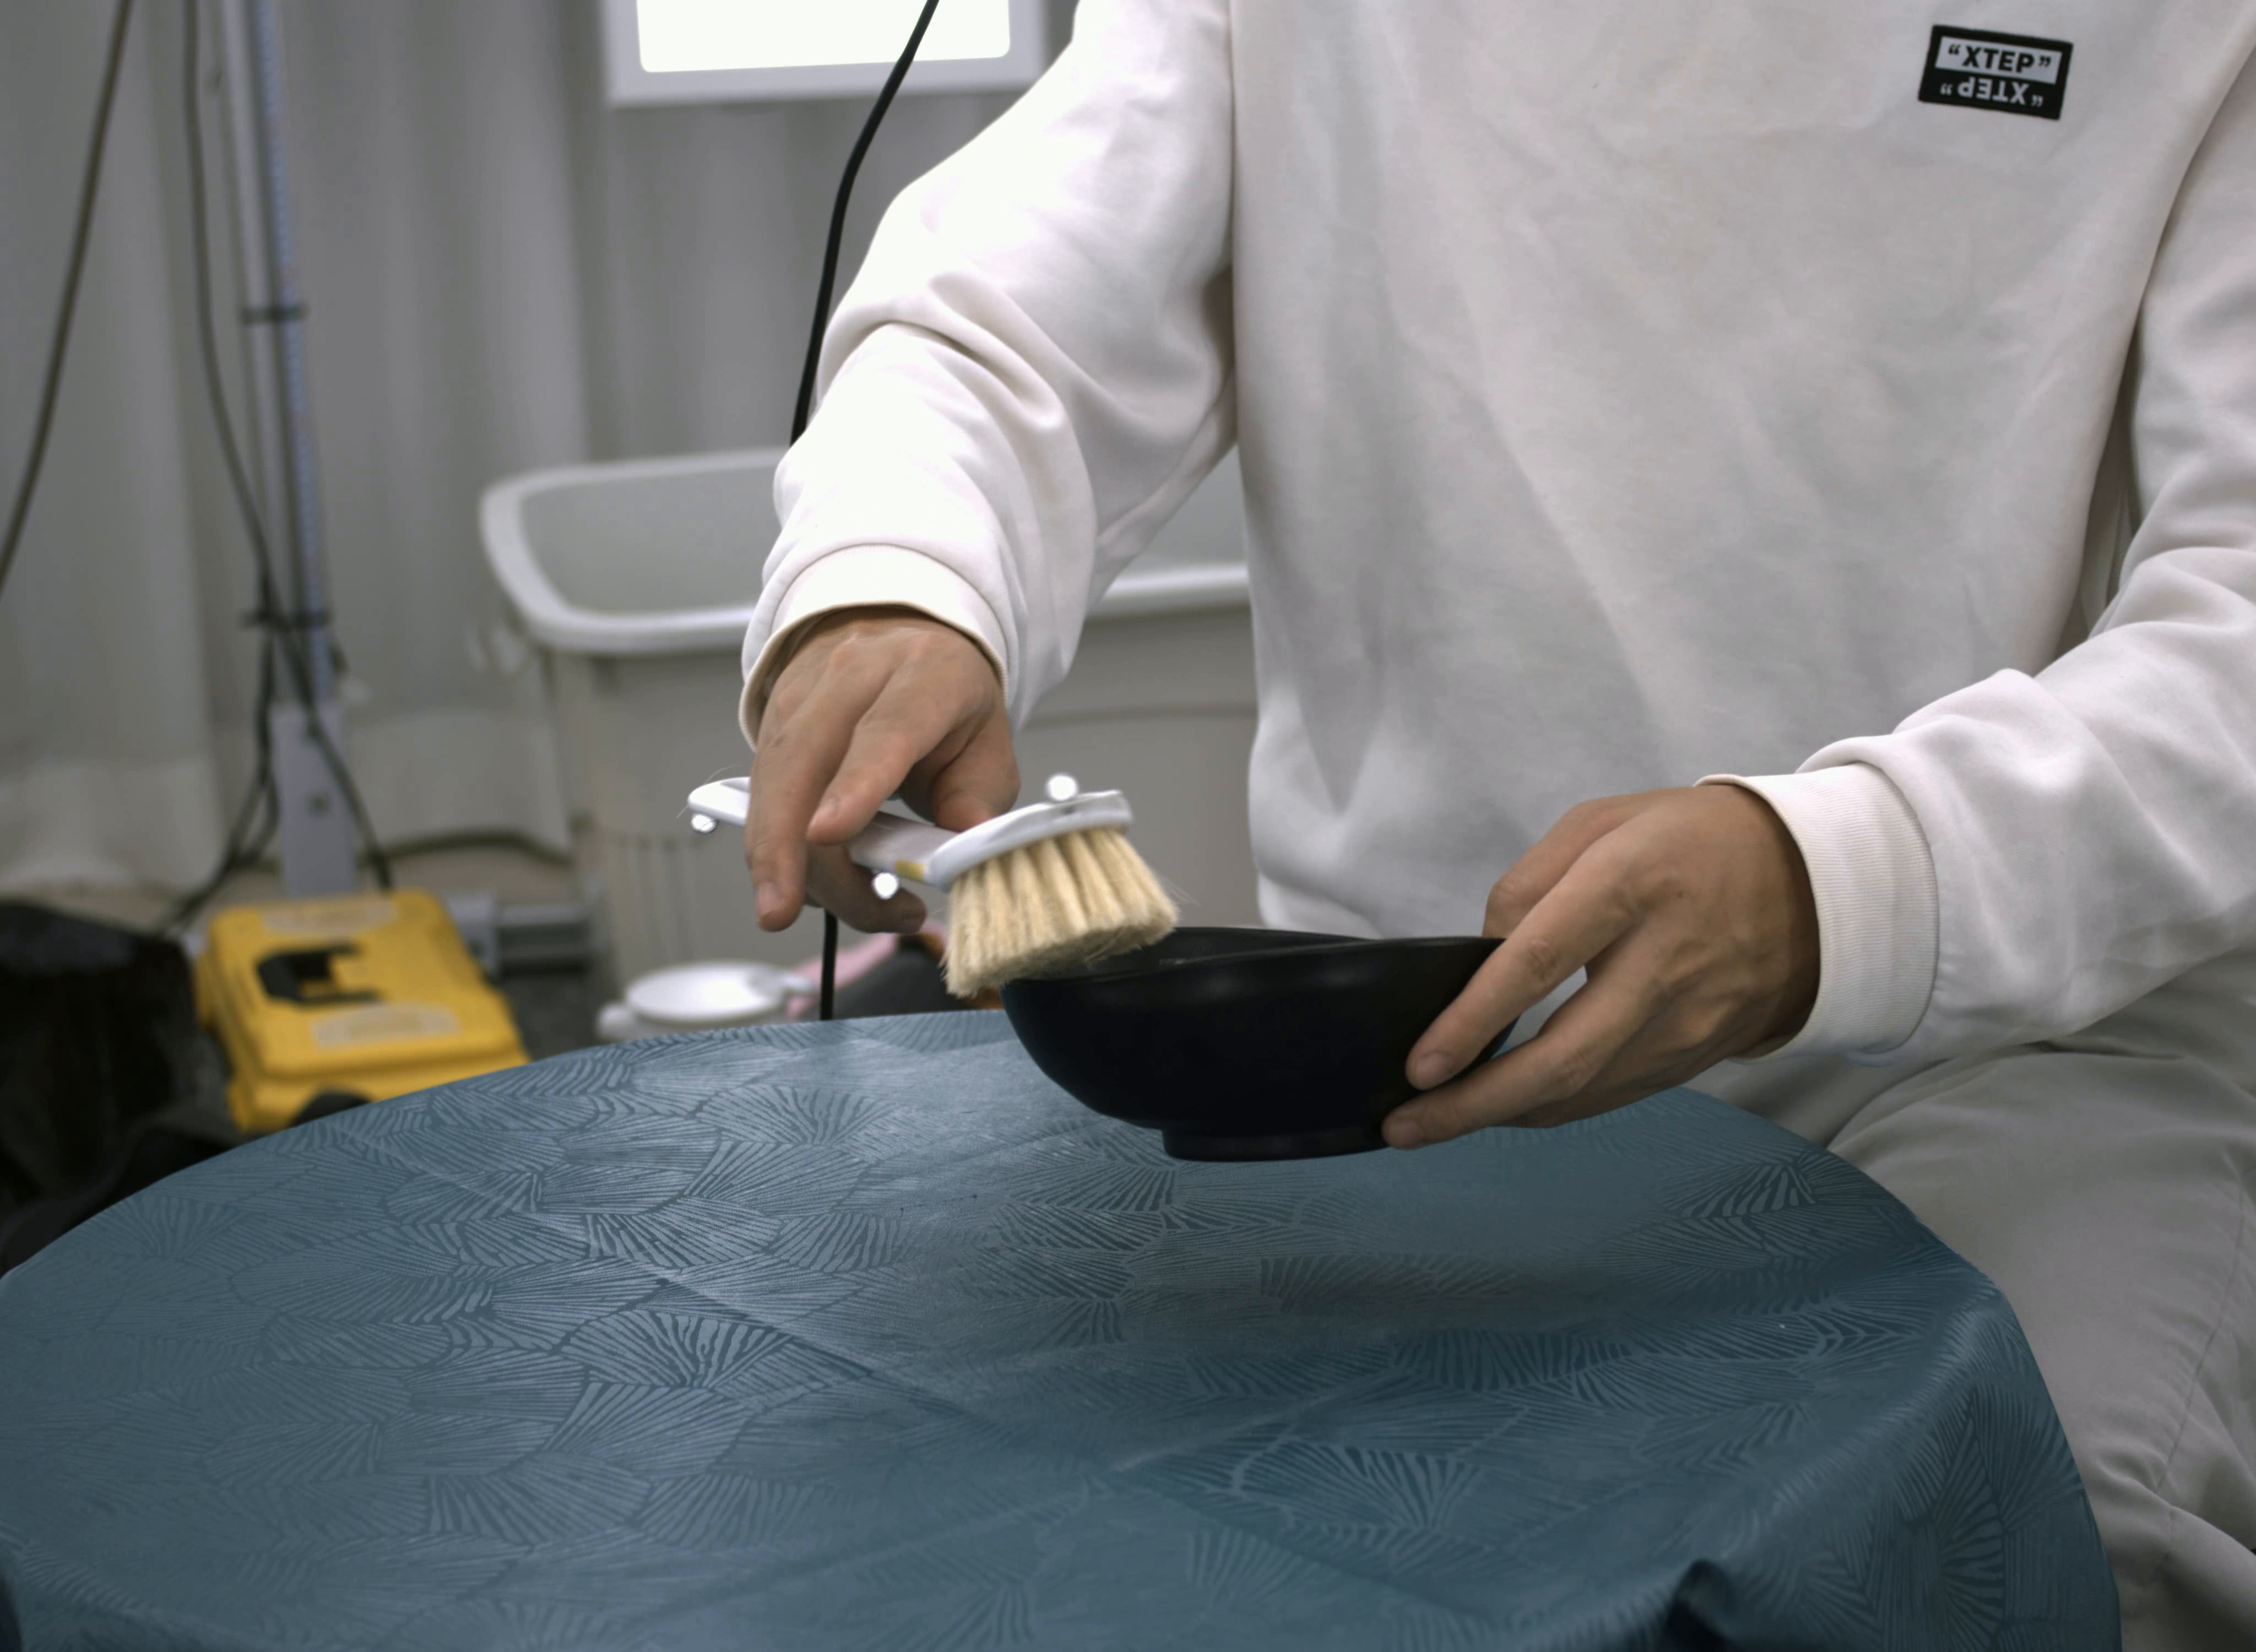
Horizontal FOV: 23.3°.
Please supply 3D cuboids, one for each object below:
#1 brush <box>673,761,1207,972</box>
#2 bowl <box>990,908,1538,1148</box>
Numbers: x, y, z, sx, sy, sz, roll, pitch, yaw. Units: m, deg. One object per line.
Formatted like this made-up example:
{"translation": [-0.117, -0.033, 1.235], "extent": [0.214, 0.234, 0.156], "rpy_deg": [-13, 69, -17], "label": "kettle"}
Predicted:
{"translation": [-0.064, 0.011, 1.641], "extent": [0.068, 0.056, 0.267], "rpy_deg": [-13, 7, -30], "label": "brush"}
{"translation": [0.041, 0.060, 1.598], "extent": [0.169, 0.067, 0.137], "rpy_deg": [0, -4, -34], "label": "bowl"}
